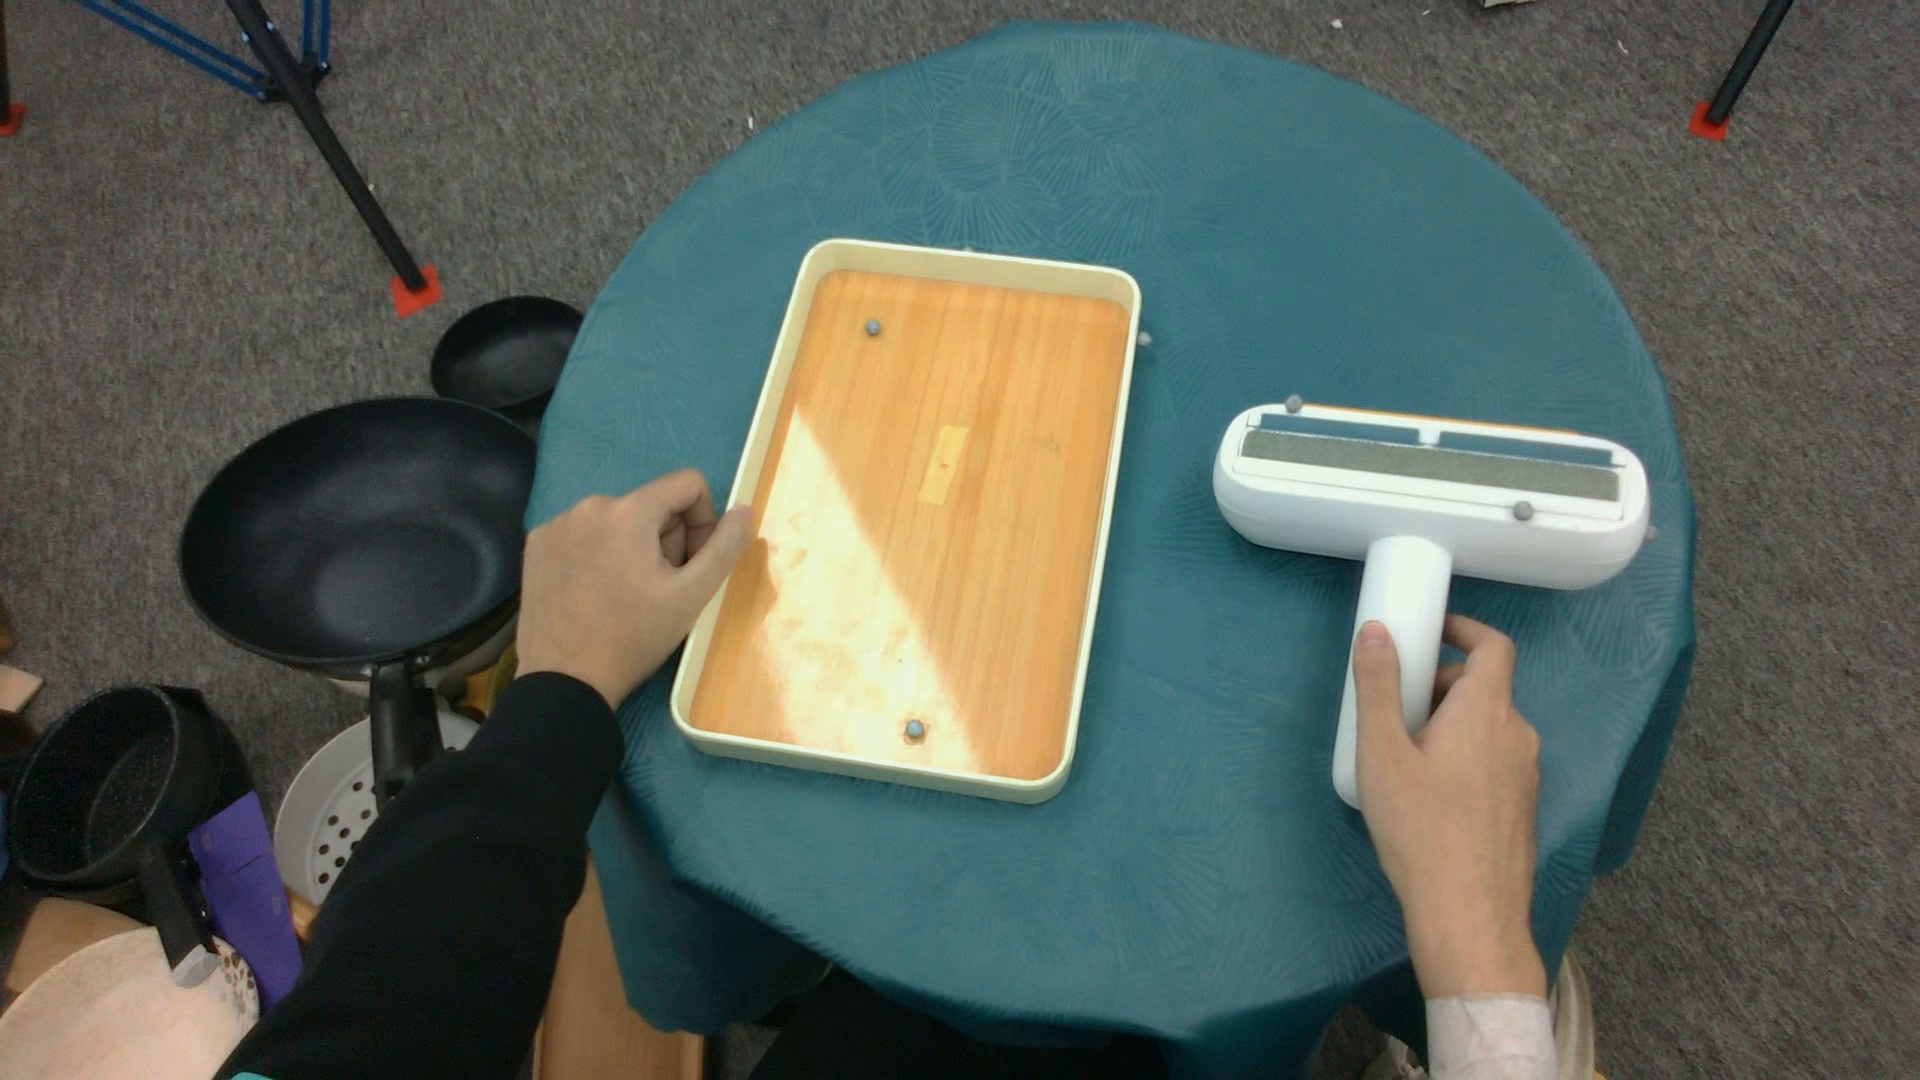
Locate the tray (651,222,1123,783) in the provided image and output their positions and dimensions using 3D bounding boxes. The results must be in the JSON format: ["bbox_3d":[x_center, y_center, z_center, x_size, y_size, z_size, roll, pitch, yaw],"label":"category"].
[{"bbox_3d":[-0.027,-0.033,0.701,0.191,0.027,0.301,8,62,7],"label":"tray"}]

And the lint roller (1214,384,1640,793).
[{"bbox_3d":[0.198,0.021,0.635,0.193,0.074,0.193,14,61,16],"label":"lint roller"}]
